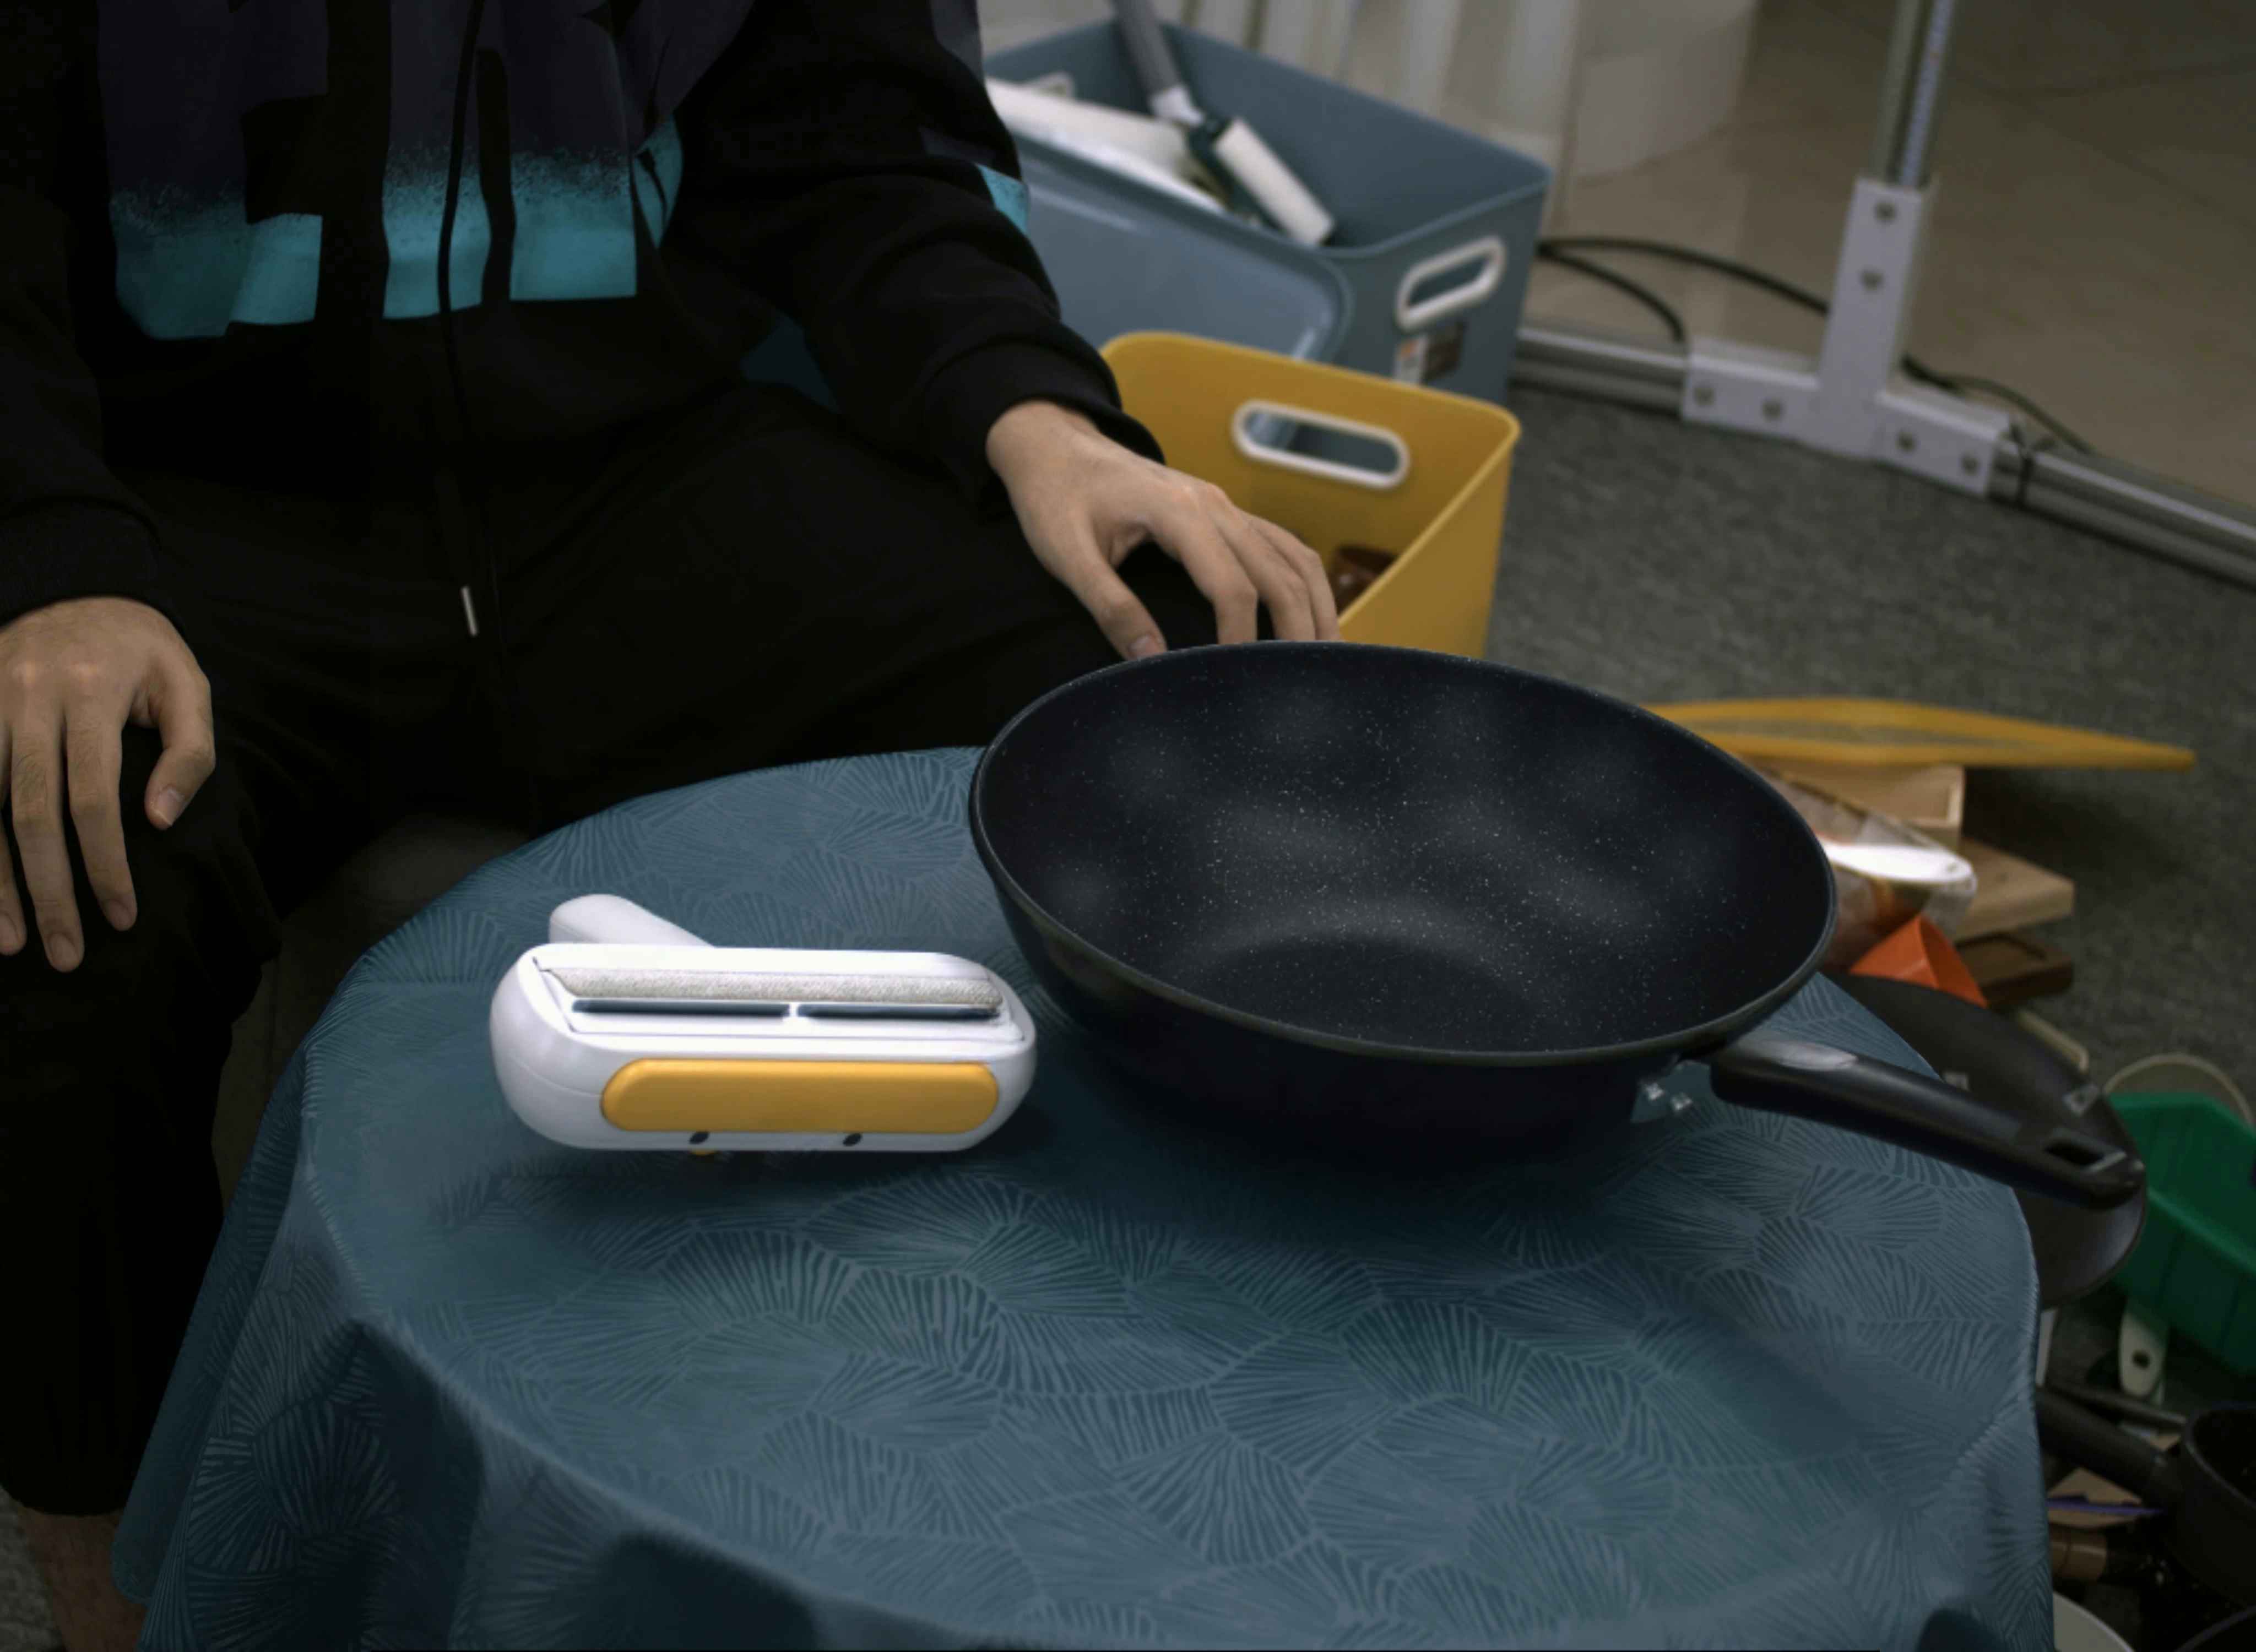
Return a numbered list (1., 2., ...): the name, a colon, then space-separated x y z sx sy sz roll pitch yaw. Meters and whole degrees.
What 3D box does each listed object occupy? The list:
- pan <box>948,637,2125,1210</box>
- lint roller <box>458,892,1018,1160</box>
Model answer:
1. pan: 0.144 0.062 1.834 0.308 0.111 0.481 -20 36 -38
2. lint roller: -0.152 0.056 1.824 0.191 0.074 0.194 0 25 -25
